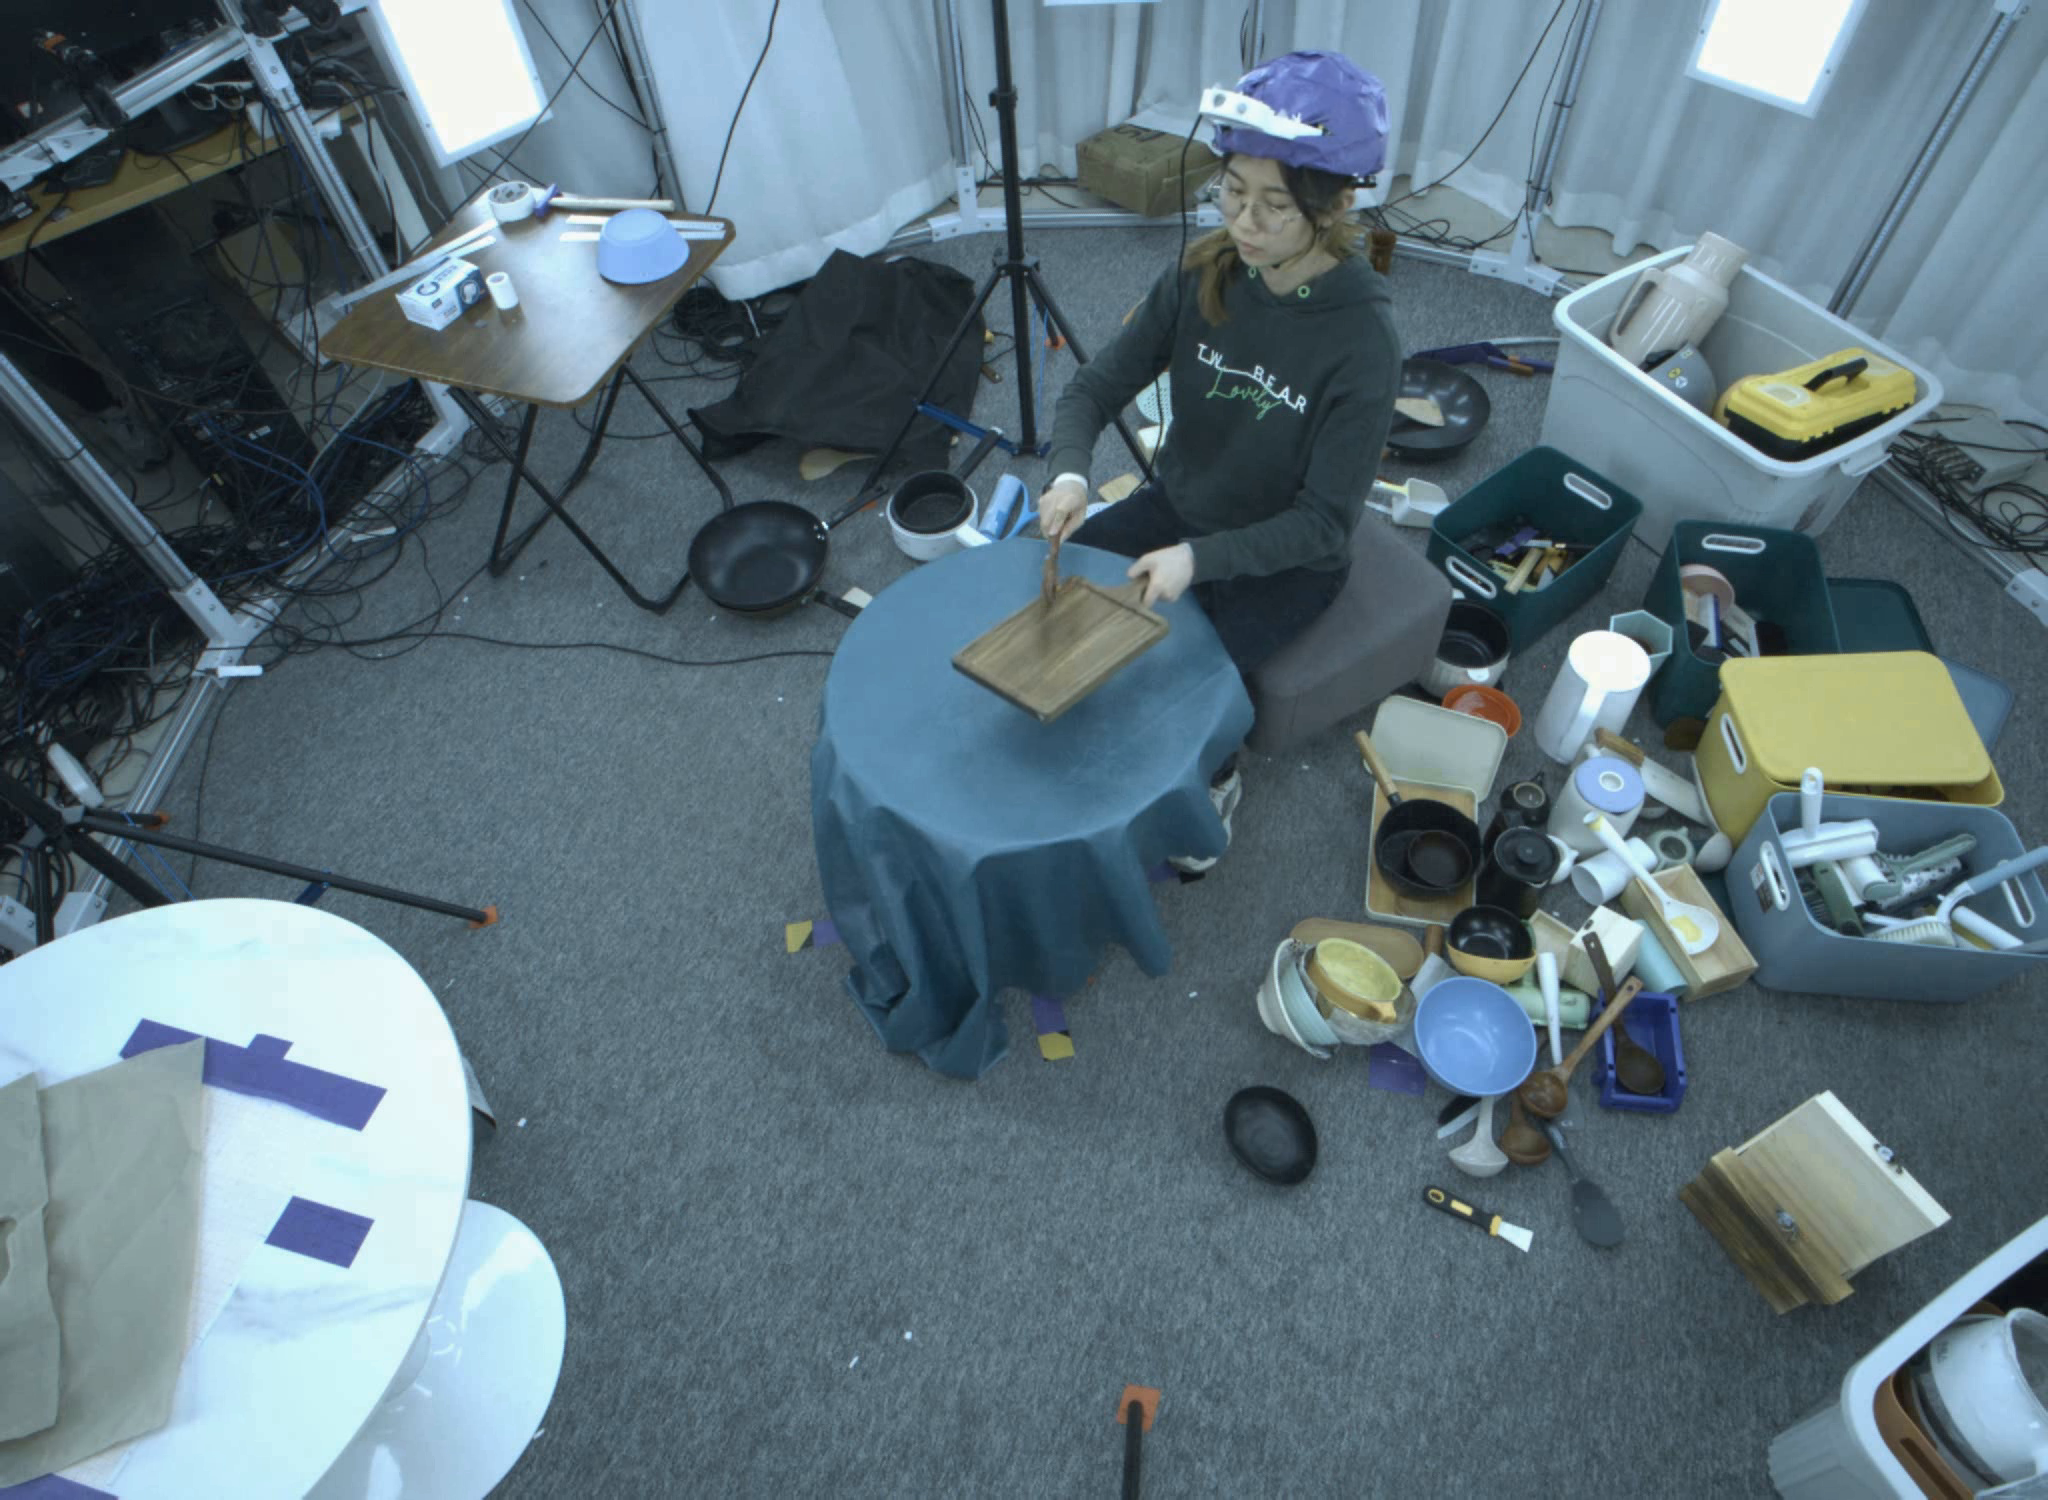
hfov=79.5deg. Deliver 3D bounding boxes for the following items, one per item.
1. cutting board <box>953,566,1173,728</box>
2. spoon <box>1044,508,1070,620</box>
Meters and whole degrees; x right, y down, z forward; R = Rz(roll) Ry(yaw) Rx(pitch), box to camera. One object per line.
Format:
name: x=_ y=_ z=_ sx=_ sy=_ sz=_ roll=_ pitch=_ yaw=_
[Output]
cutting board: x=0.089 y=-0.168 z=1.744 sx=0.355 sy=0.023 sz=0.196 roll=-37 pitch=50 yaw=-27
spoon: x=0.046 y=-0.272 z=1.752 sx=0.017 sy=0.076 sz=0.214 roll=3 pitch=51 yaw=8
